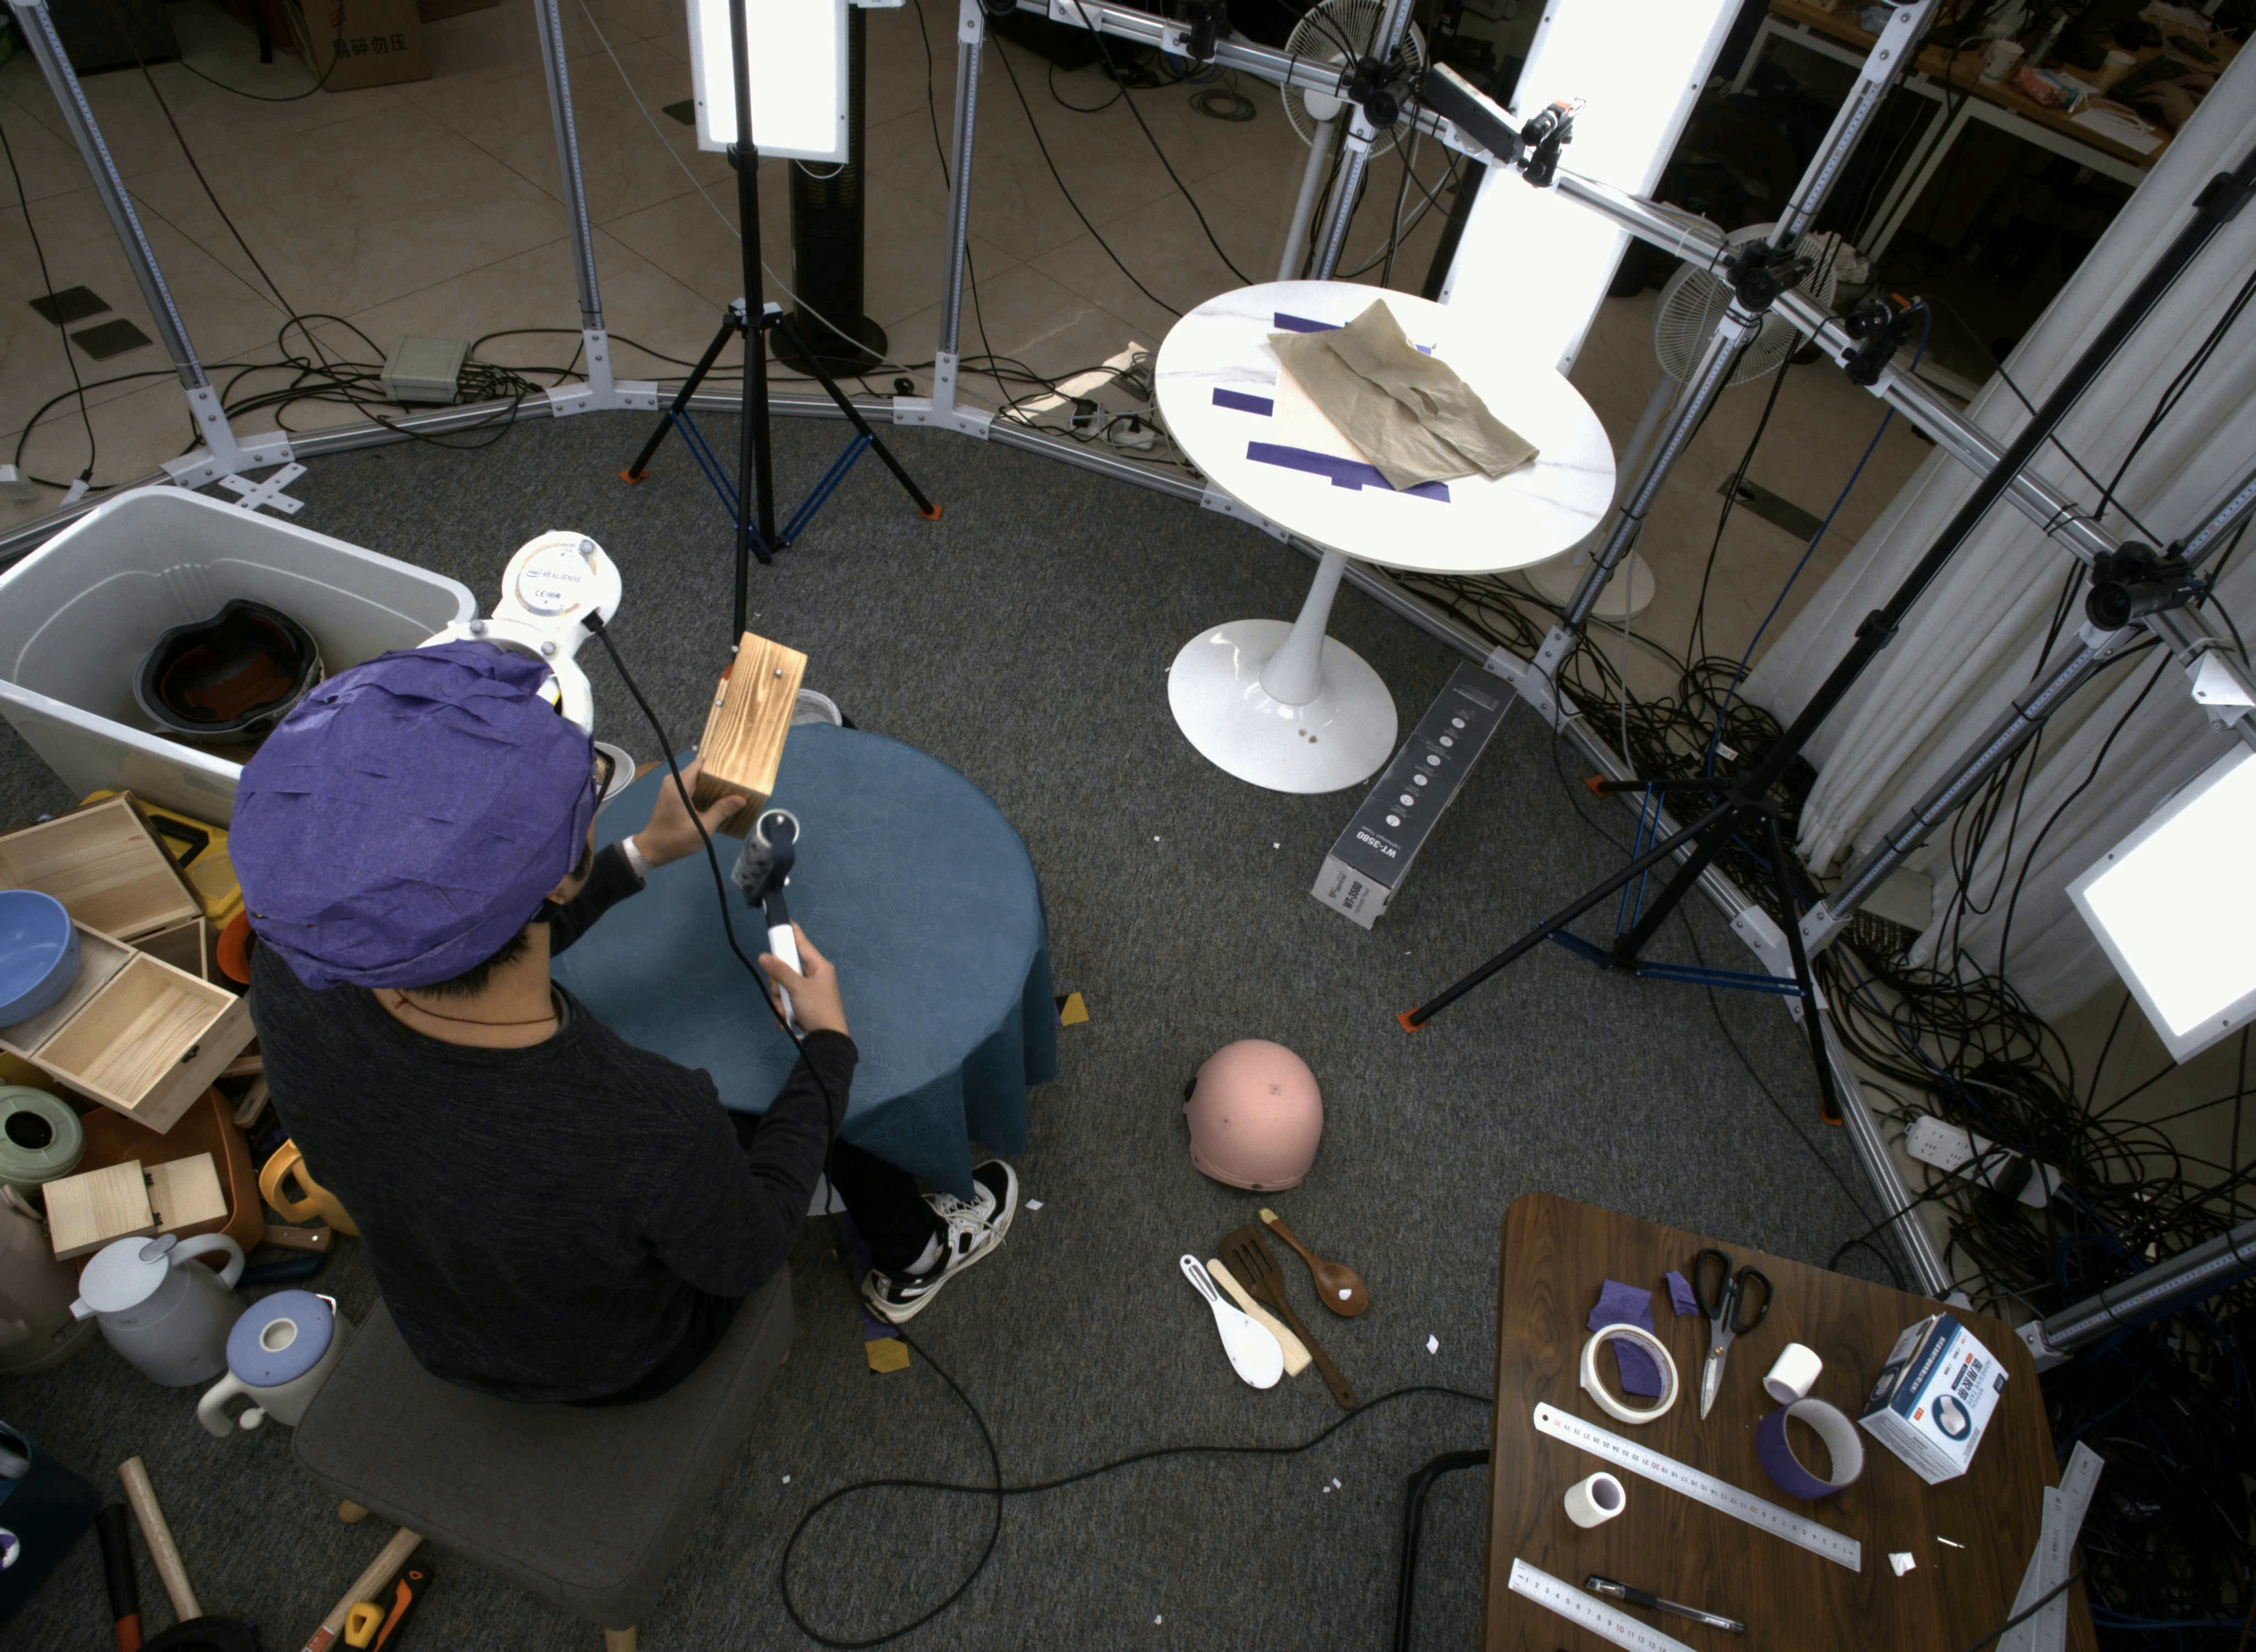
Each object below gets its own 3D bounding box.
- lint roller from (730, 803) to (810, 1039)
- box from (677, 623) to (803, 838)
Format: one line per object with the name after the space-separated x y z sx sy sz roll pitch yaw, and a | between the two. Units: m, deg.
-0.393 0.117 1.474 0.051 0.175 0.246 -10 76 -33 | lint roller
-0.446 -0.111 1.488 0.081 0.107 0.208 19 53 -23 | box
